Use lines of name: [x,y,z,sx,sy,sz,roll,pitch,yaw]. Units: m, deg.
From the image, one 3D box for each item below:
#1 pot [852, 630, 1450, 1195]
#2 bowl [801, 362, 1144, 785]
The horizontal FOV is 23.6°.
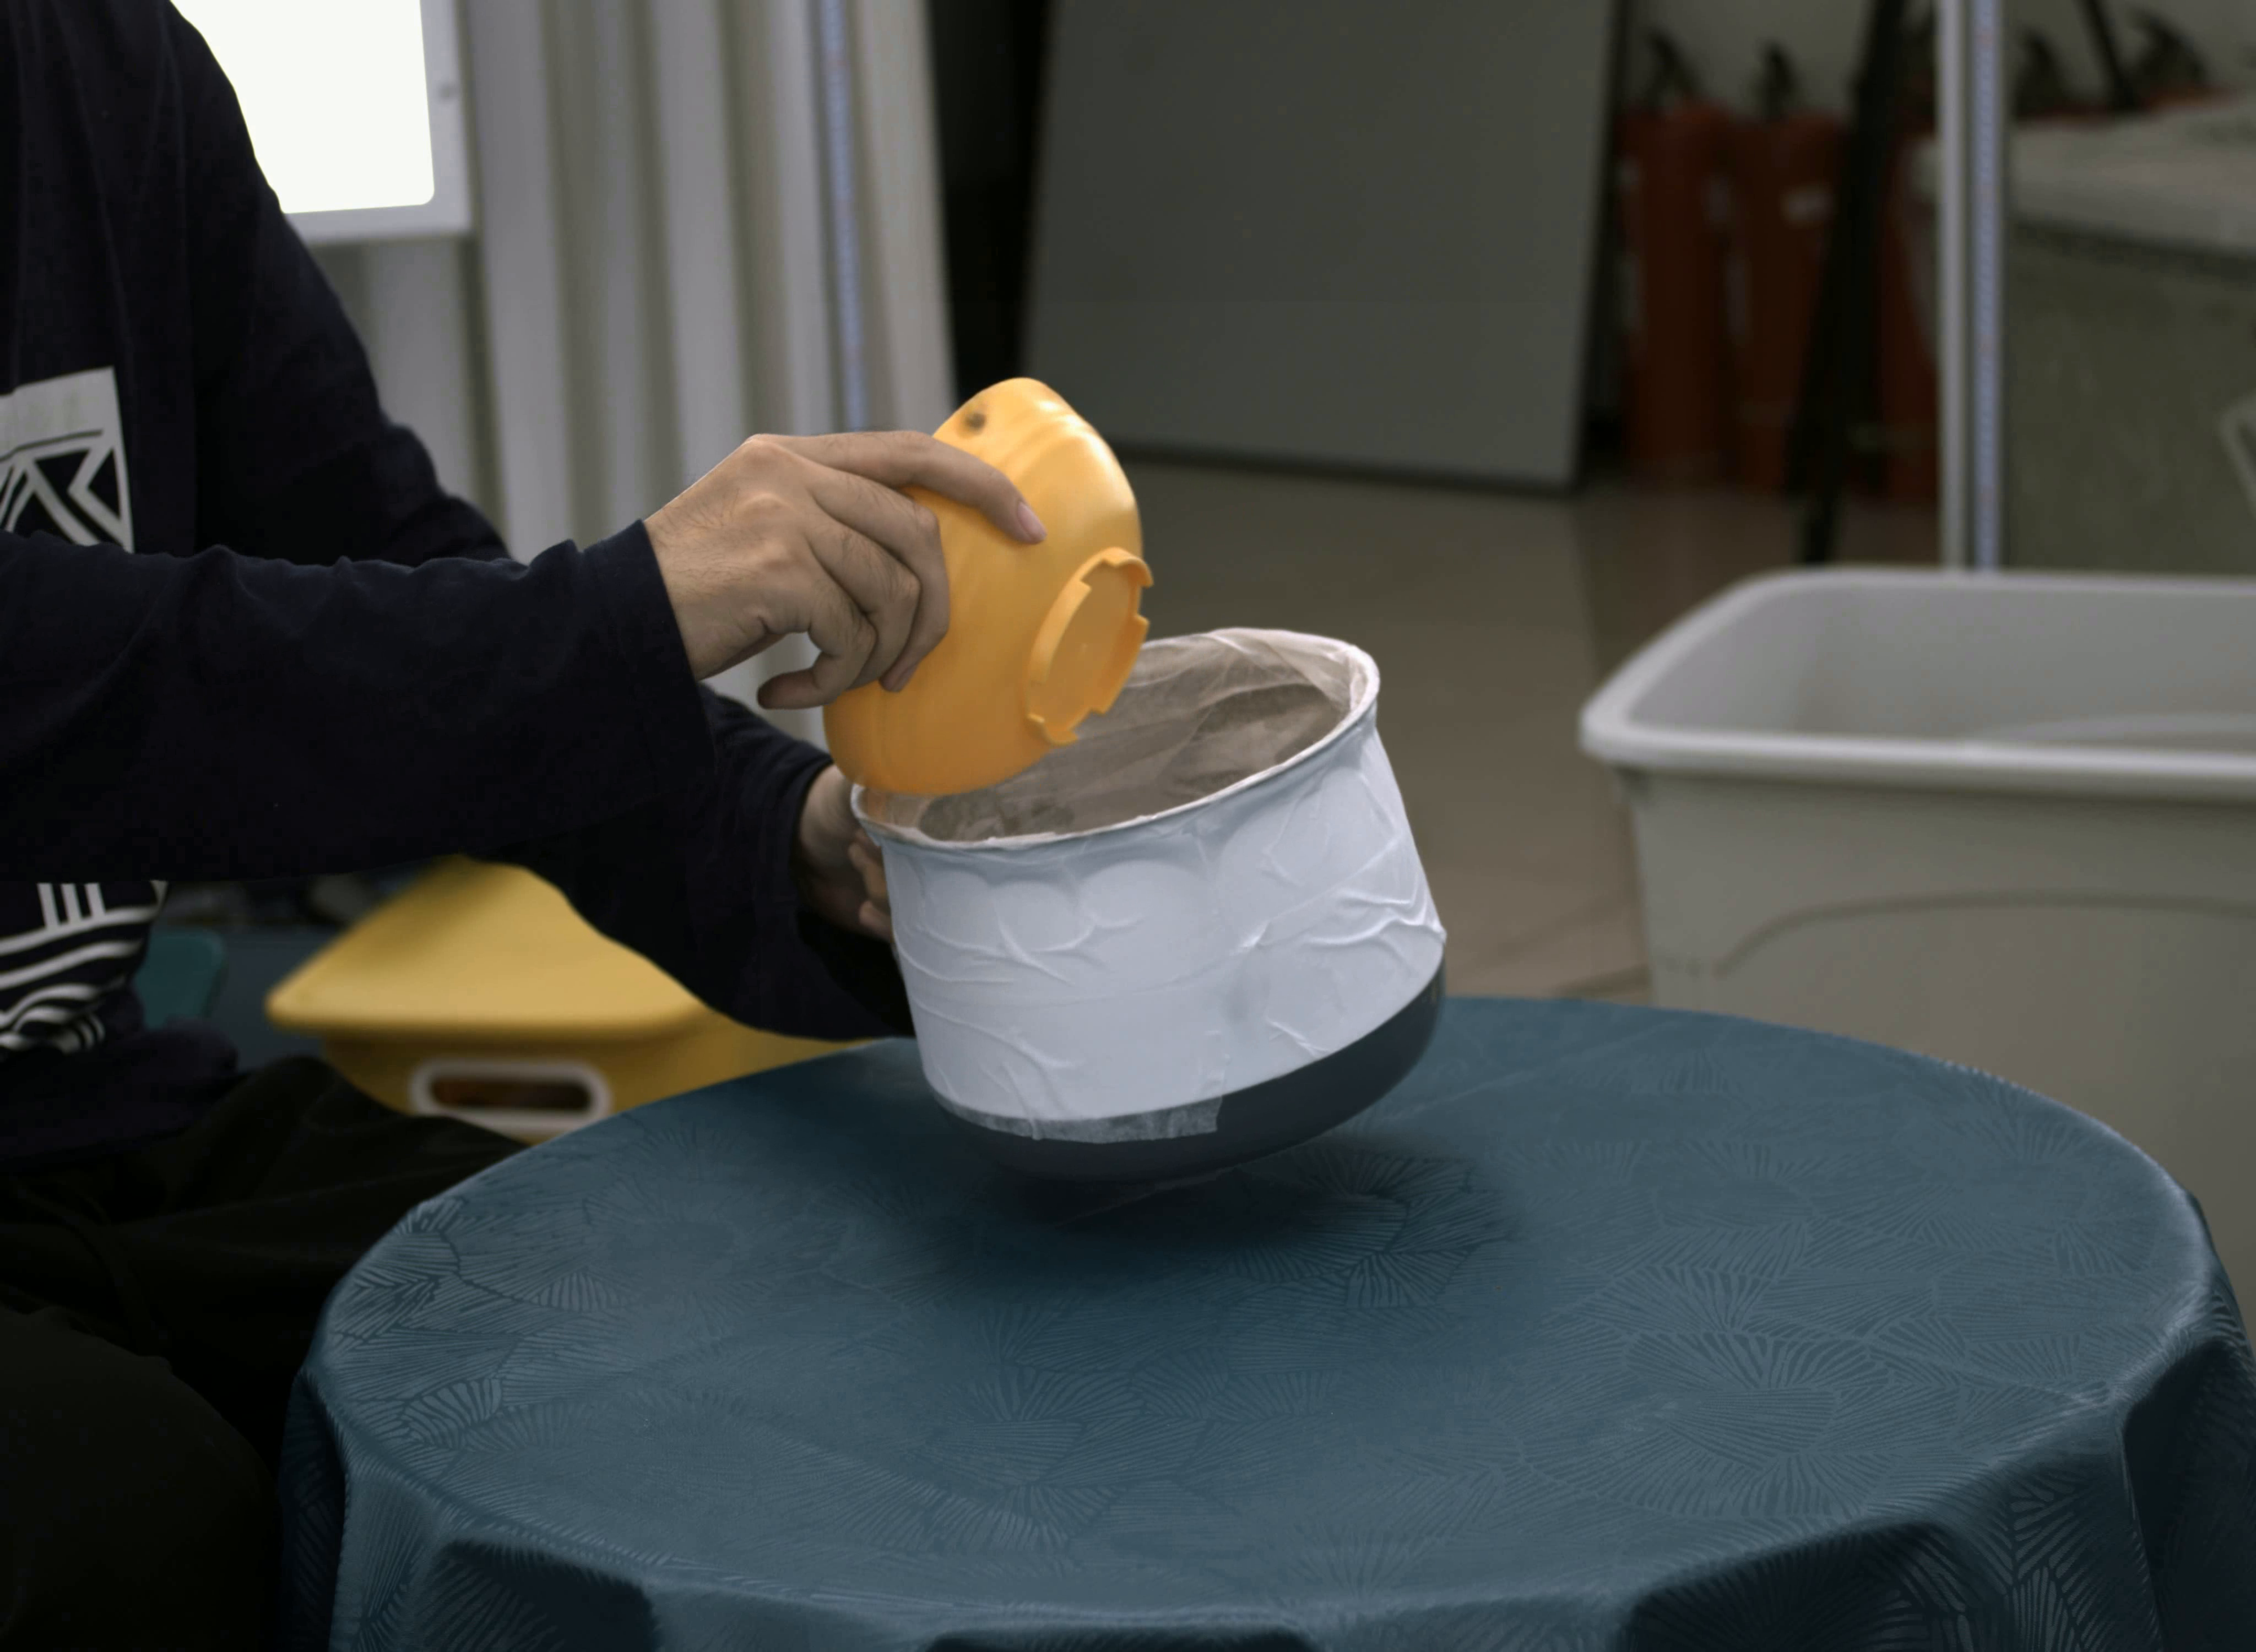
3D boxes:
pot: [-0.006,0.027,1.778,0.175,0.137,0.236,-27,20,-32]
bowl: [-0.037,-0.070,1.734,0.060,0.147,0.143,29,28,26]
